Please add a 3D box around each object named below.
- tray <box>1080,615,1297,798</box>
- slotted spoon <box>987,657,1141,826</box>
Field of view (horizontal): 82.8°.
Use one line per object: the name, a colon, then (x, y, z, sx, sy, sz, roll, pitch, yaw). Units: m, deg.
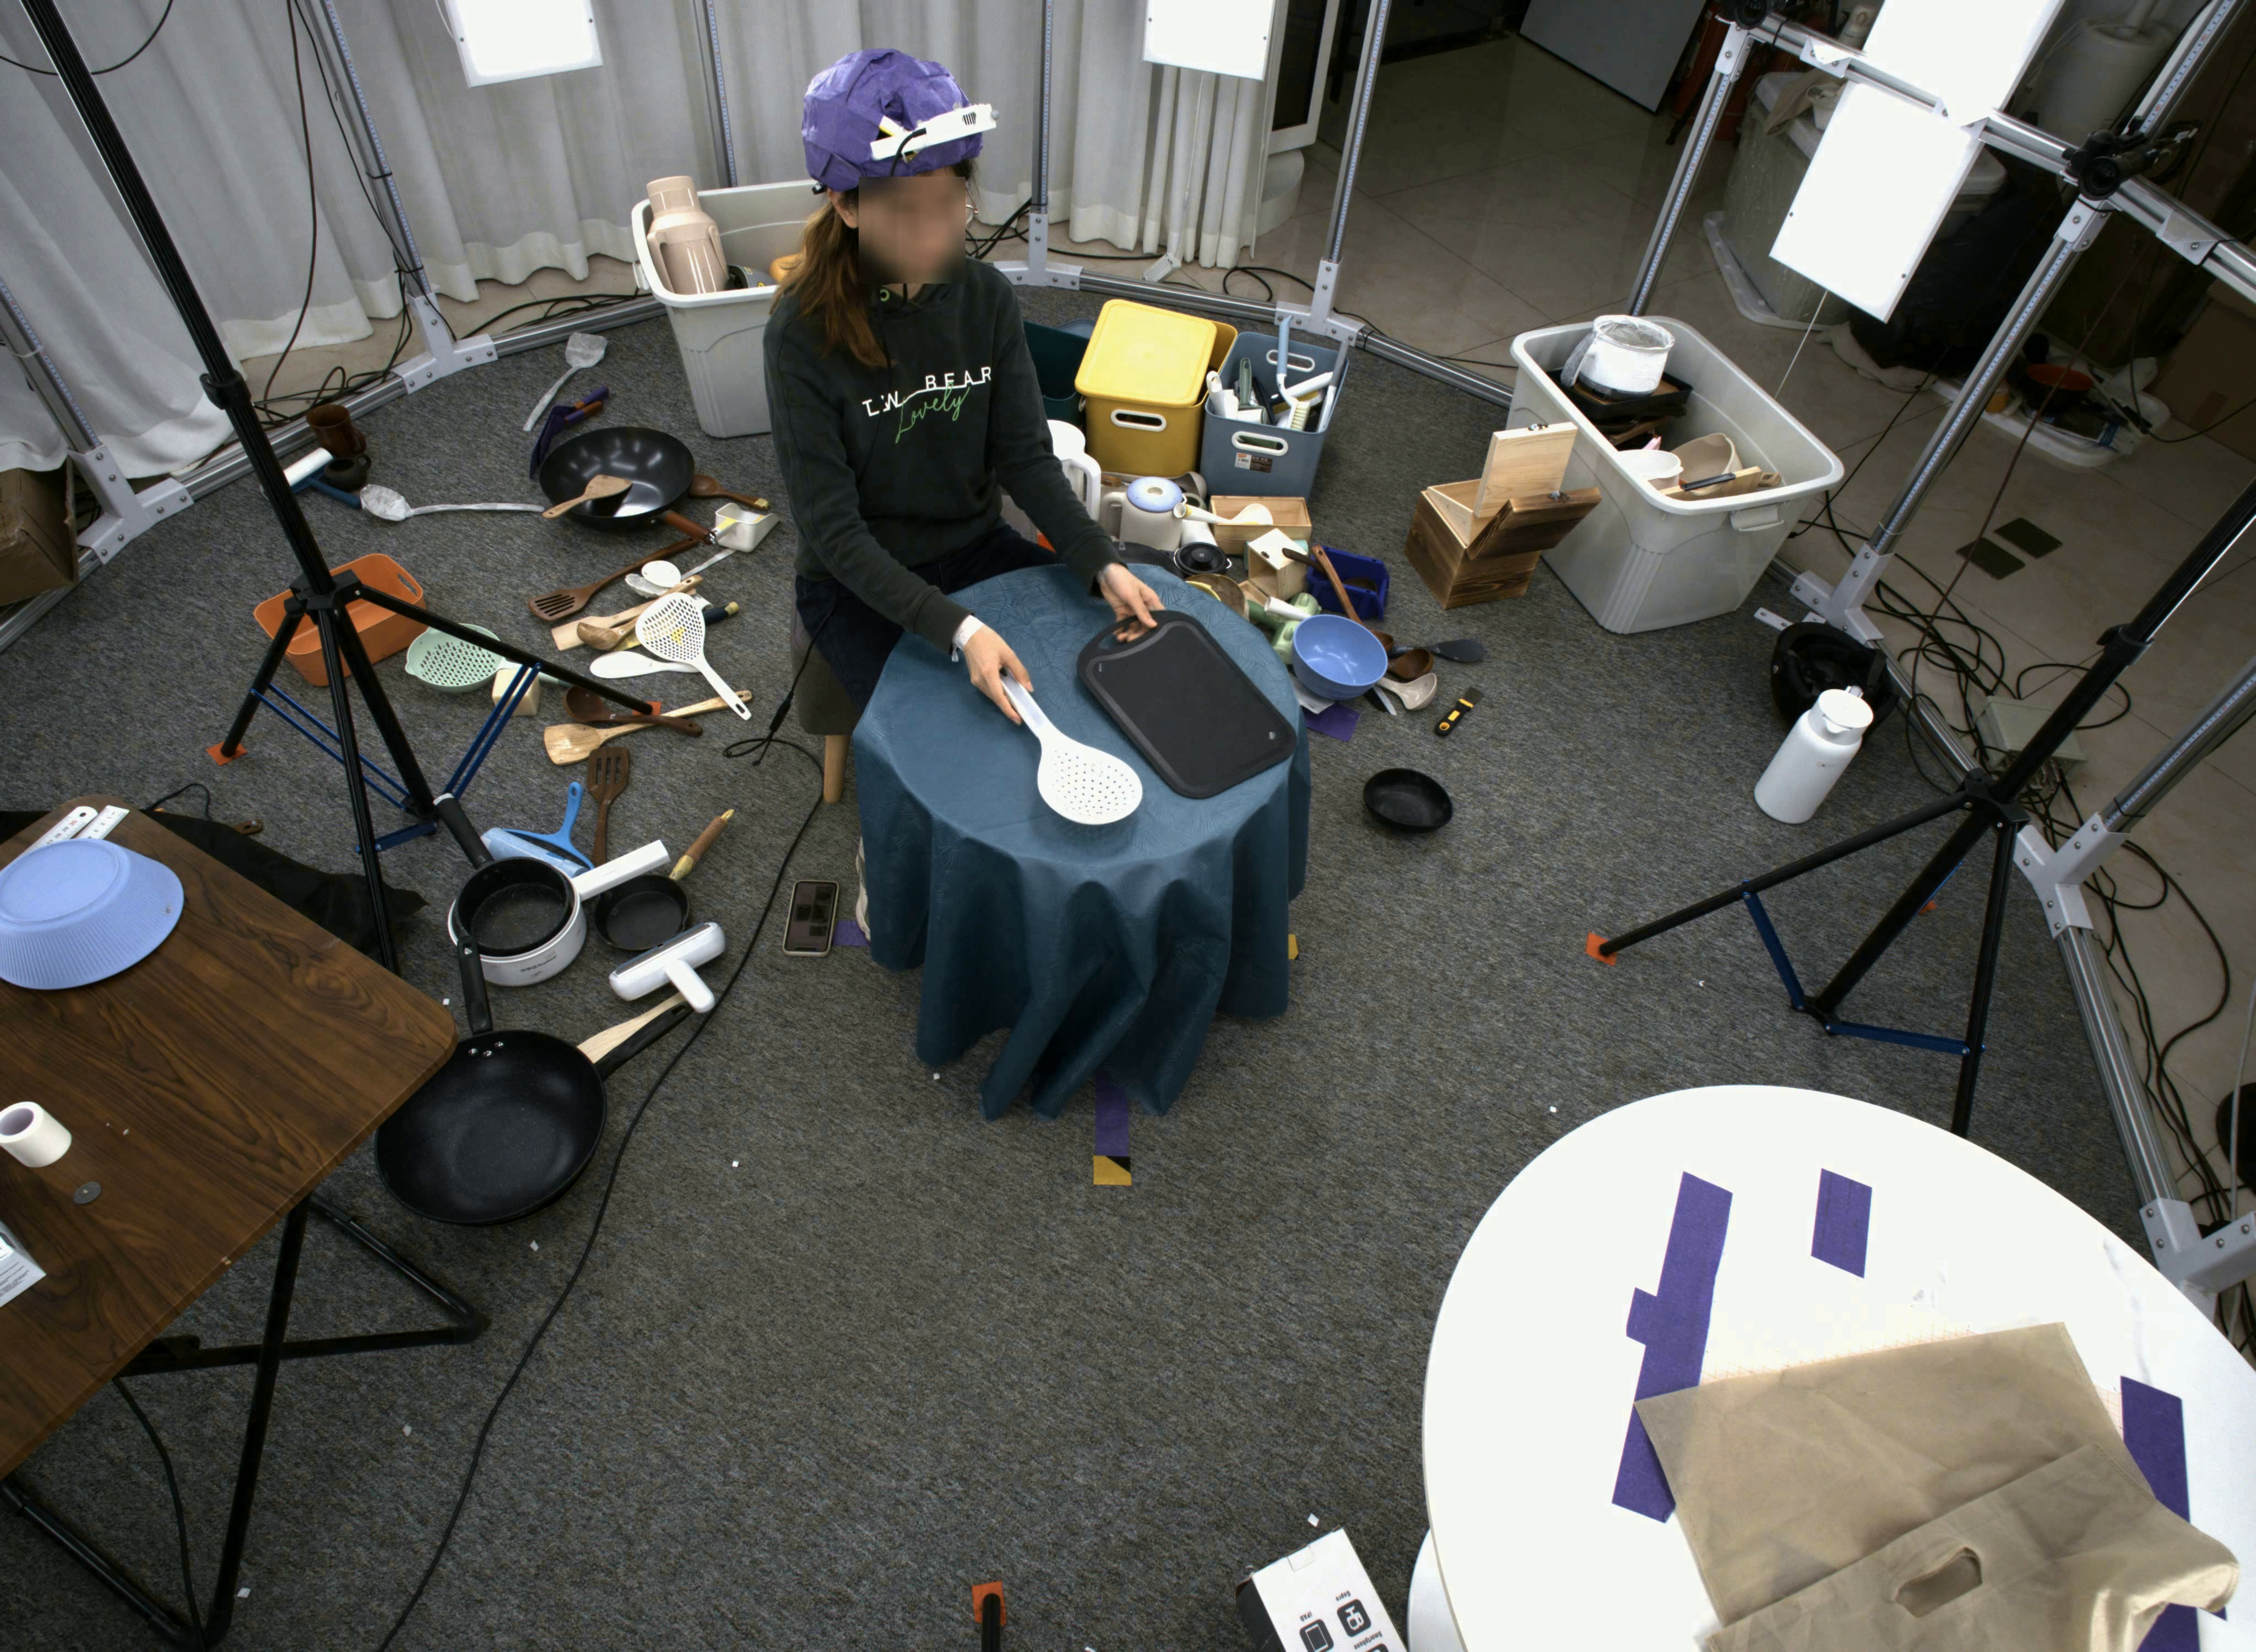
tray: (0.078, -0.182, 1.824, 0.212, 0.009, 0.331, -26, 60, -22)
slotted spoon: (-0.105, -0.119, 1.741, 0.136, 0.045, 0.357, -17, 55, -26)
